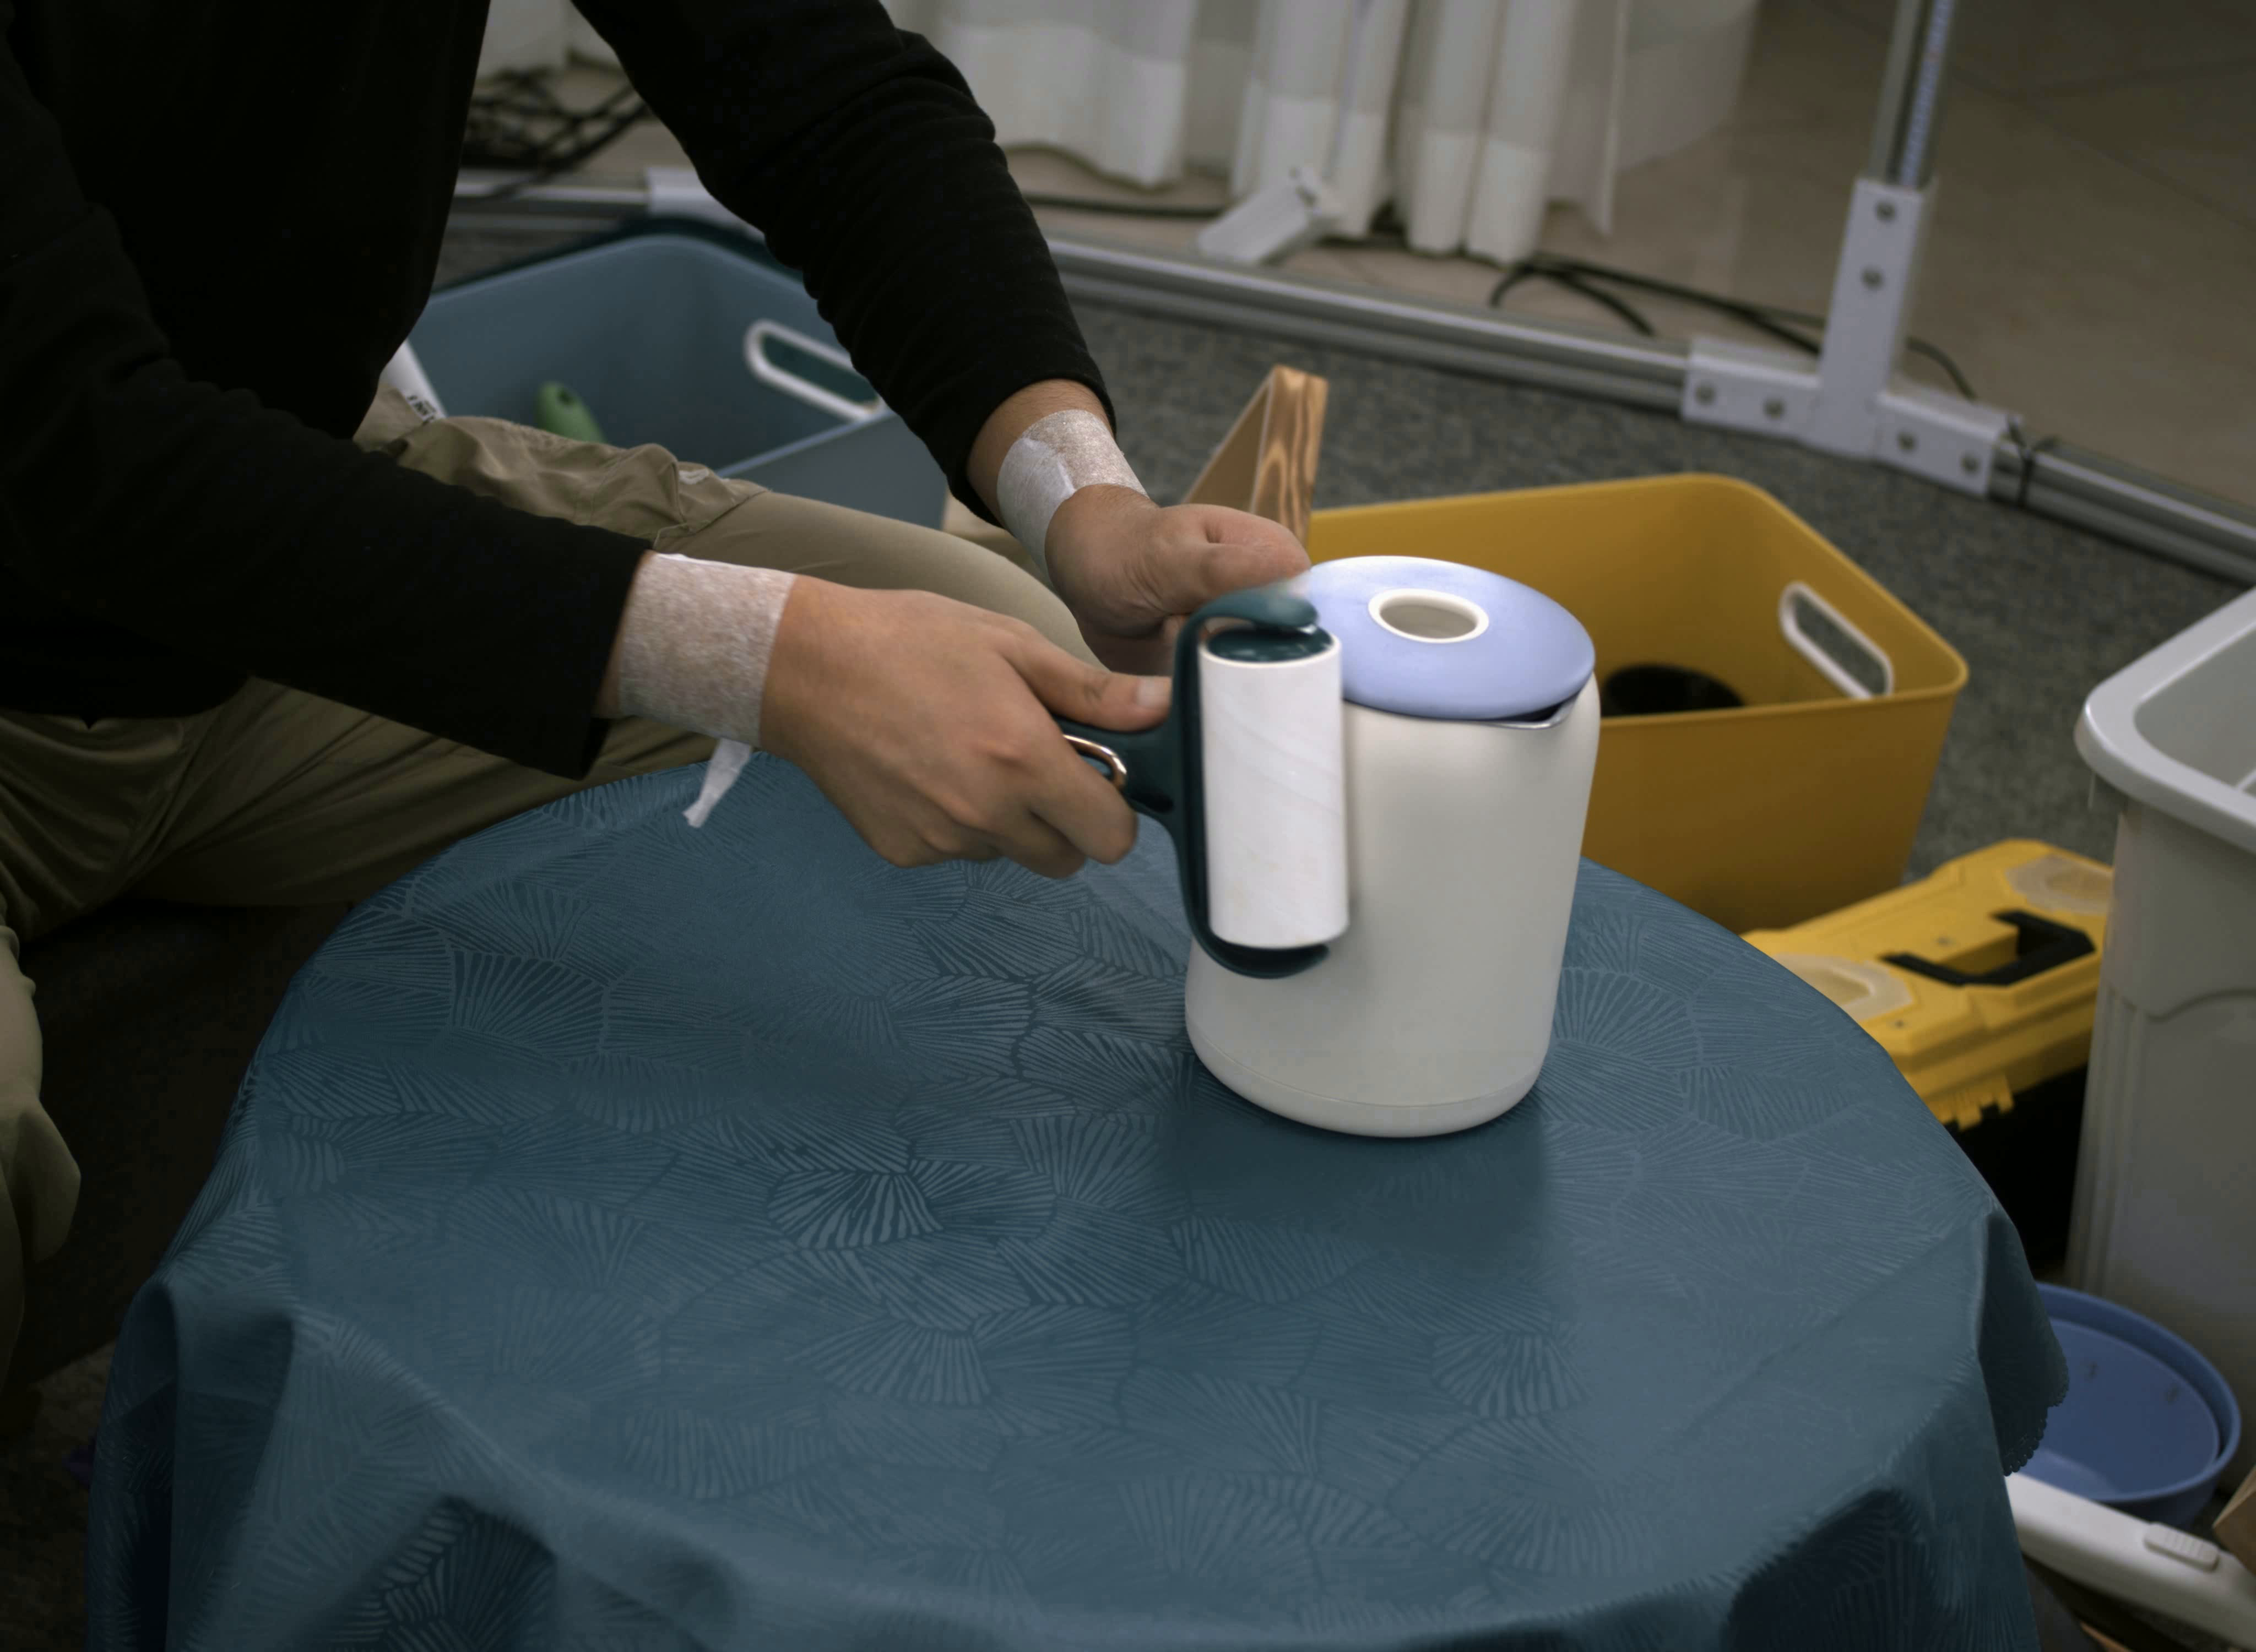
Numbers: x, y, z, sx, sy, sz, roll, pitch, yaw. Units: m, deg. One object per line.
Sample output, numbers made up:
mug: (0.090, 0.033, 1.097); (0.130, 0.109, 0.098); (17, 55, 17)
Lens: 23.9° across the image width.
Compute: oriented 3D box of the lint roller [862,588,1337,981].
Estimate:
lint roller: (-0.017, -0.019, 1.801); (0.180, 0.134, 0.048); (4, 18, 22)

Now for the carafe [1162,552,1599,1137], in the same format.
carafe: (0.077, -0.004, 1.881); (0.131, 0.182, 0.192); (-14, 32, -37)
